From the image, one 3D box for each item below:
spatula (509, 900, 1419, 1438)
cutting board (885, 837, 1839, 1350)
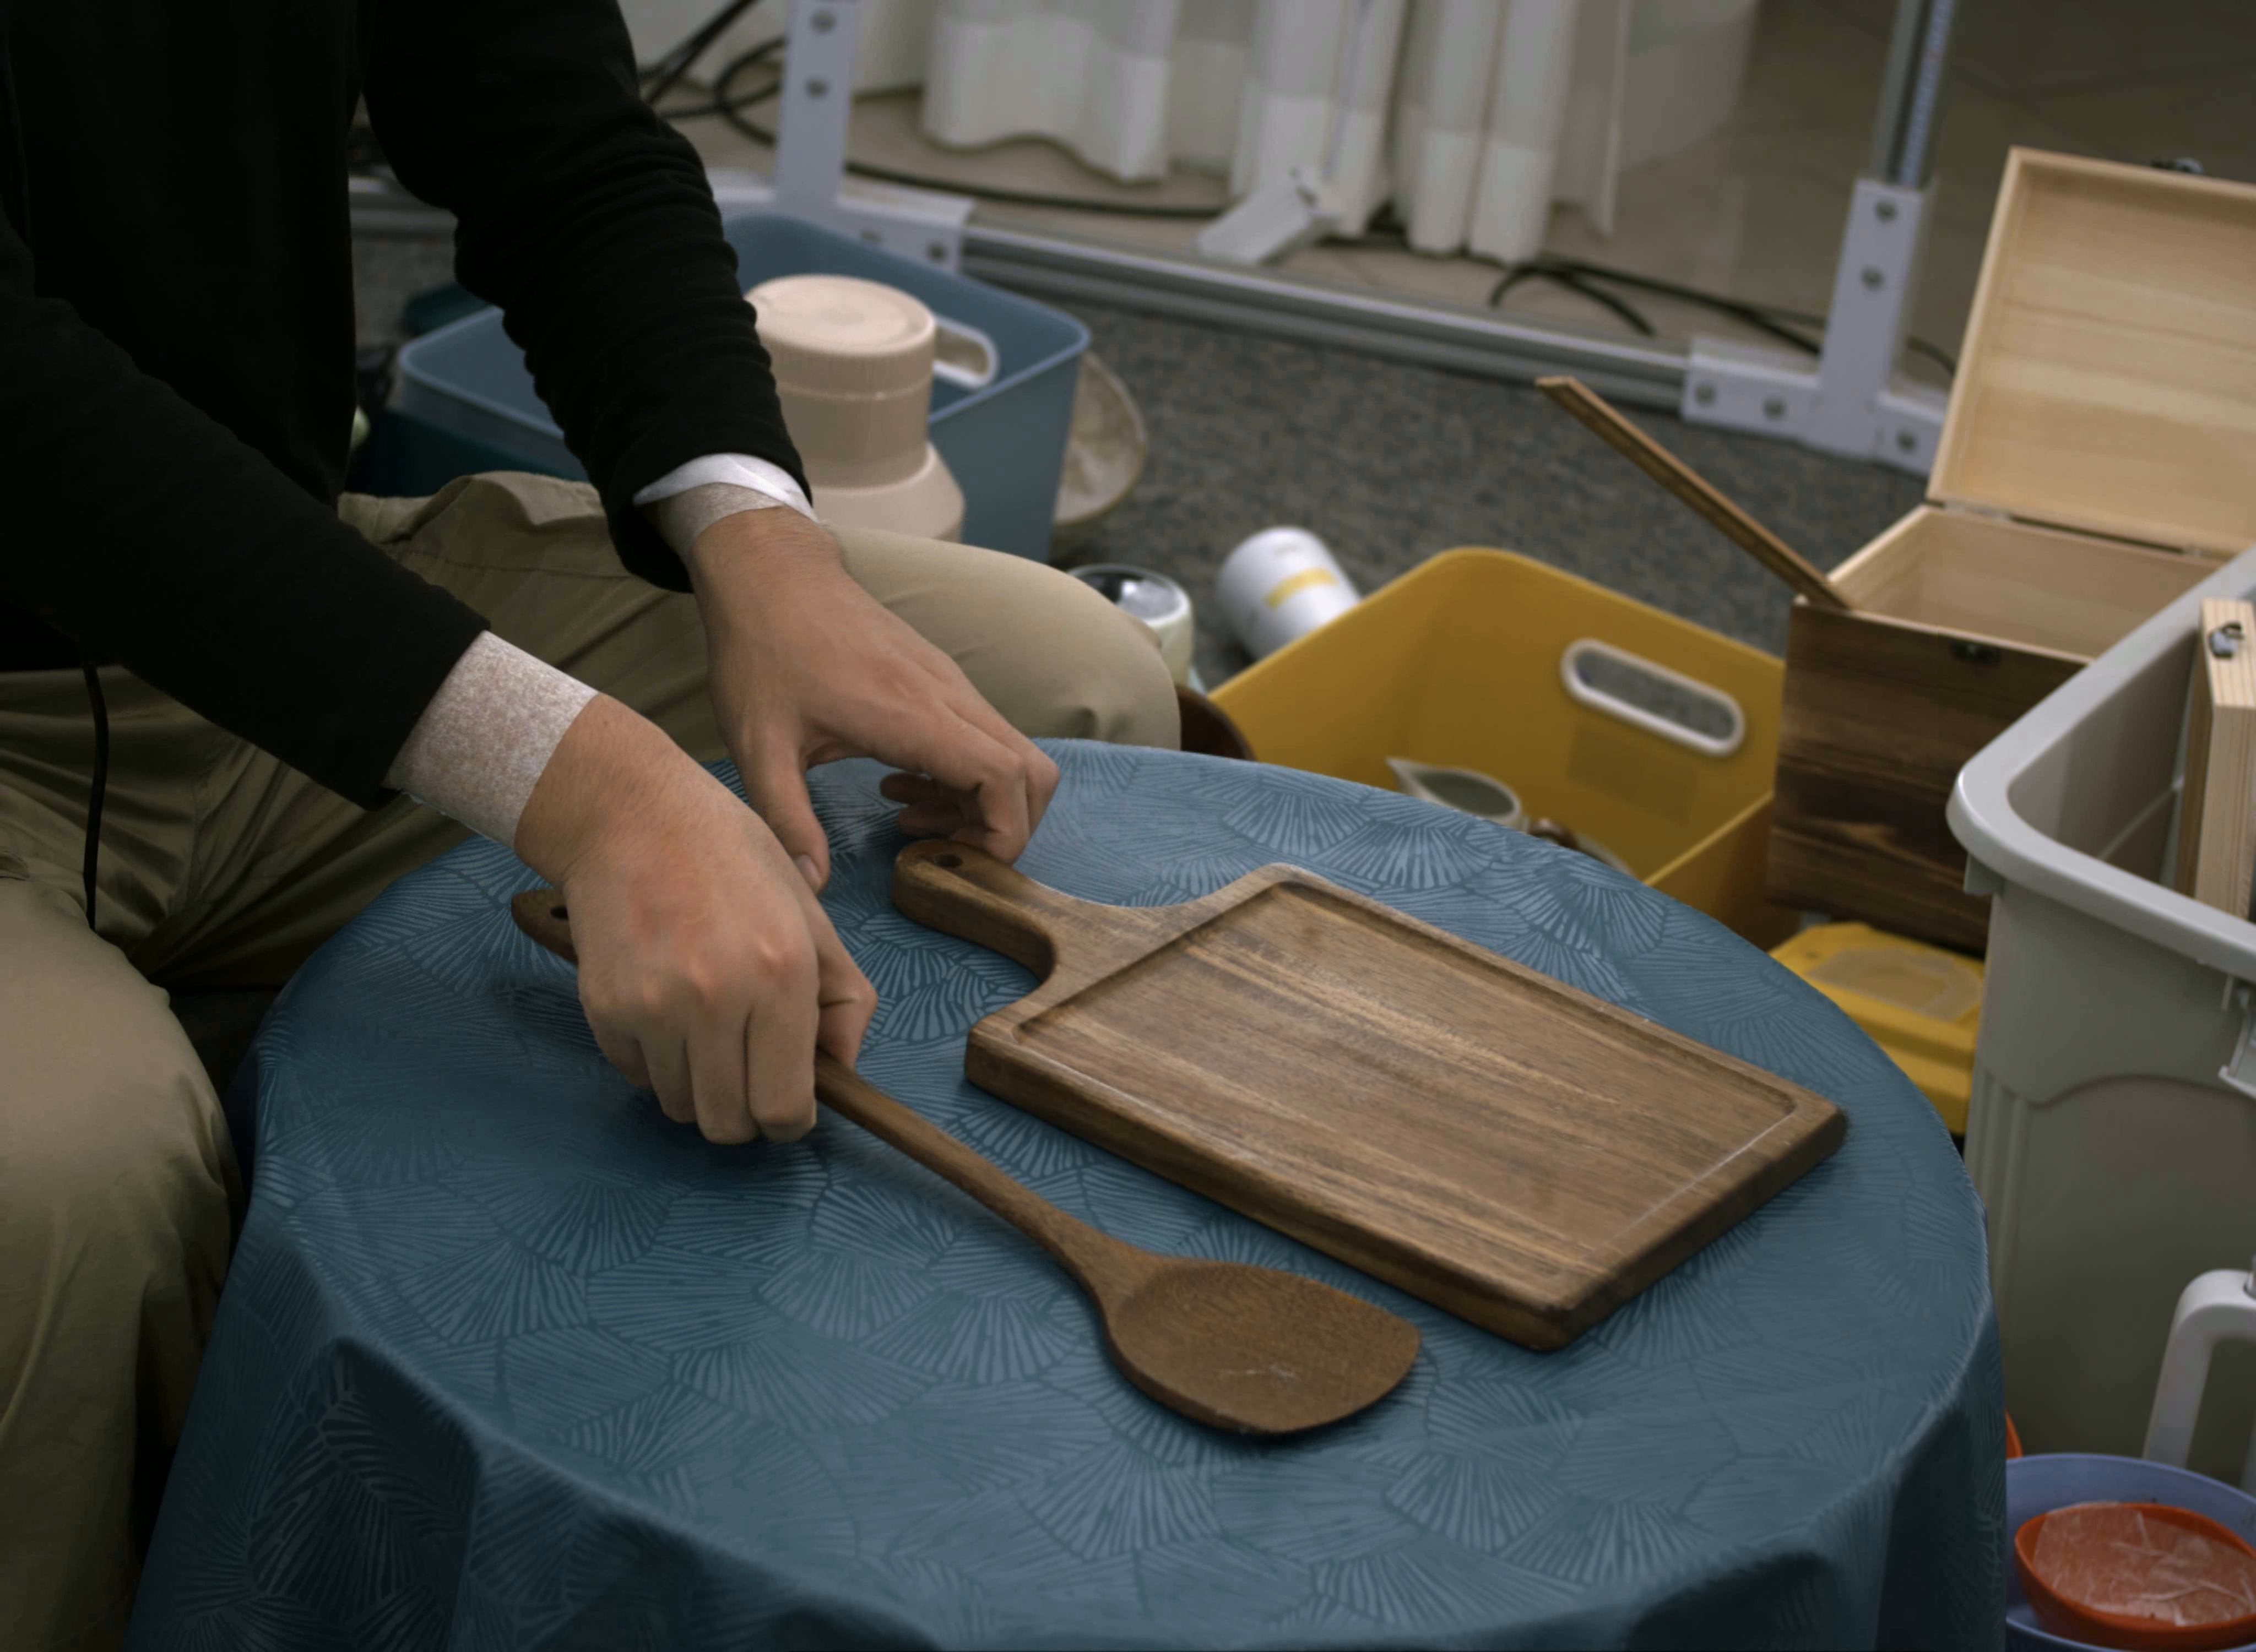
[{"bbox_3d":[-0.070,0.107,1.787,0.388,0.016,0.096,29,33,31],"label":"spatula"},{"bbox_3d":[0.057,0.075,1.887,0.354,0.023,0.200,23,31,30],"label":"cutting board"}]
